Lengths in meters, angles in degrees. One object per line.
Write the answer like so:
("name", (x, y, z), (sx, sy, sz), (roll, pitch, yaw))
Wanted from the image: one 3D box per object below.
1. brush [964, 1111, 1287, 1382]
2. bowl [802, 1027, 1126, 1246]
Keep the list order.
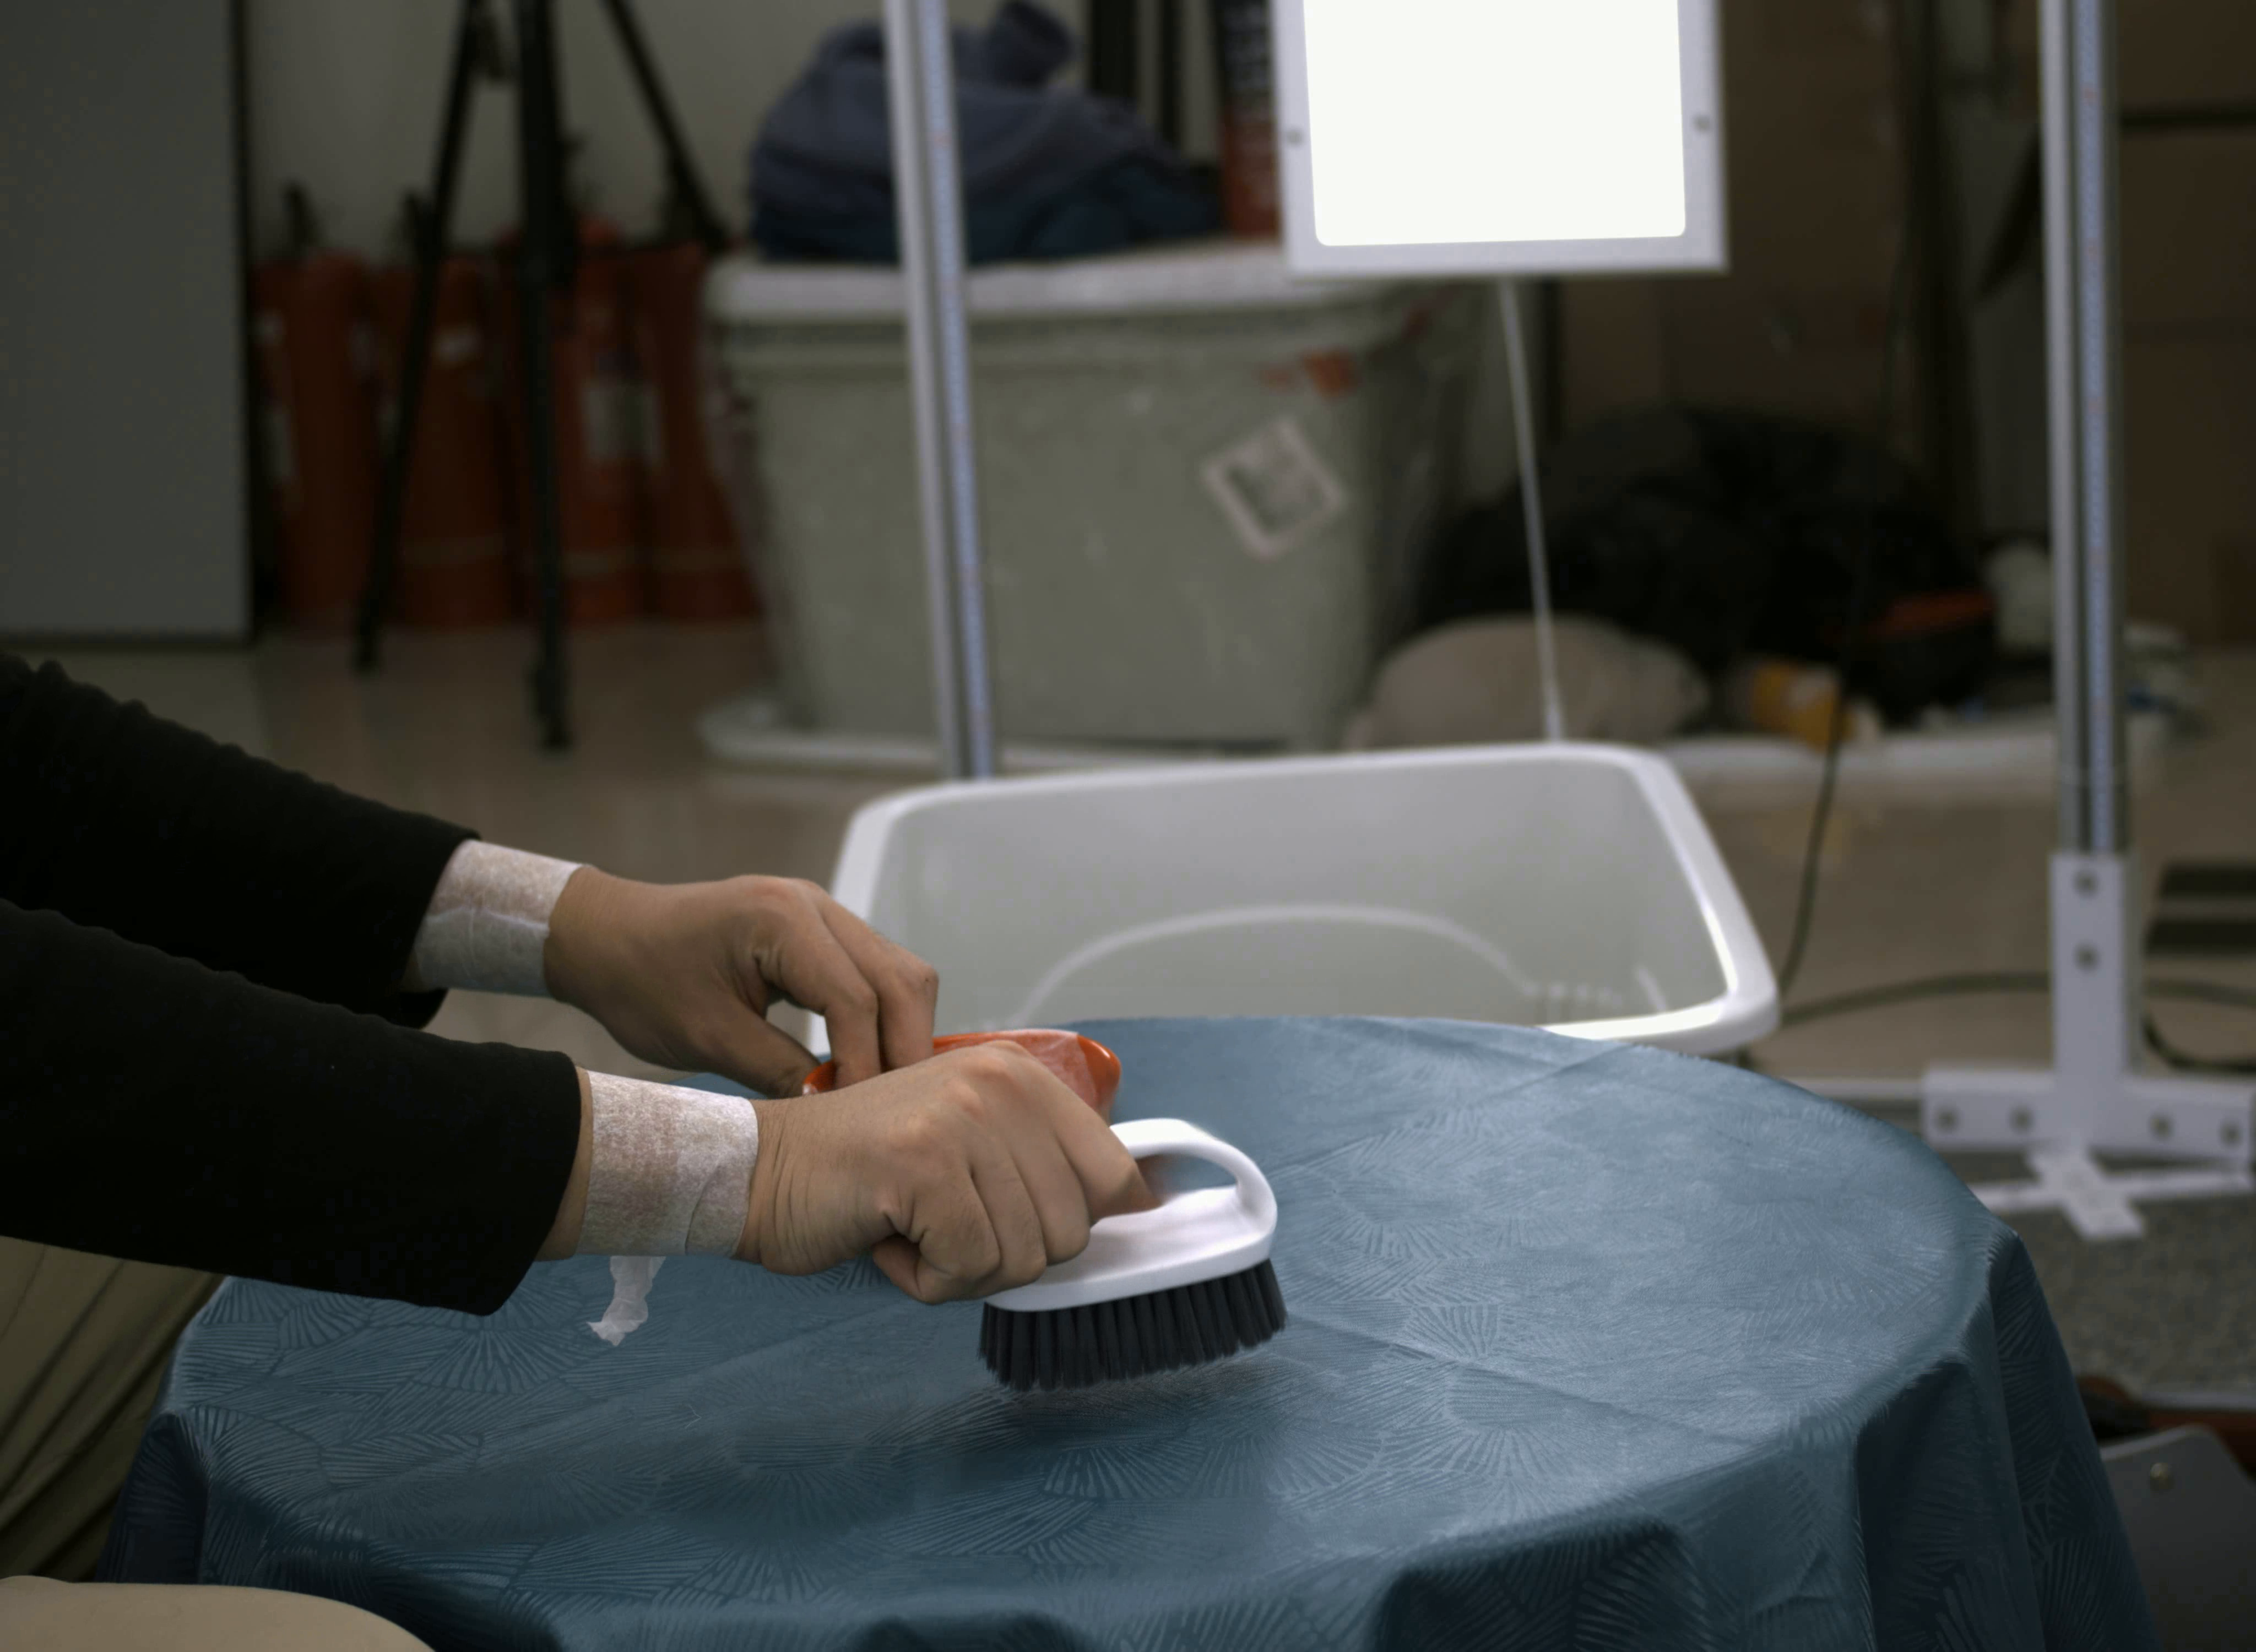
("brush", (-0.002, 0.124, 1.687), (0.098, 0.073, 0.050), (-10, 26, -8))
("bowl", (-0.055, 0.108, 1.880), (0.118, 0.051, 0.119), (-2, 15, -1))
